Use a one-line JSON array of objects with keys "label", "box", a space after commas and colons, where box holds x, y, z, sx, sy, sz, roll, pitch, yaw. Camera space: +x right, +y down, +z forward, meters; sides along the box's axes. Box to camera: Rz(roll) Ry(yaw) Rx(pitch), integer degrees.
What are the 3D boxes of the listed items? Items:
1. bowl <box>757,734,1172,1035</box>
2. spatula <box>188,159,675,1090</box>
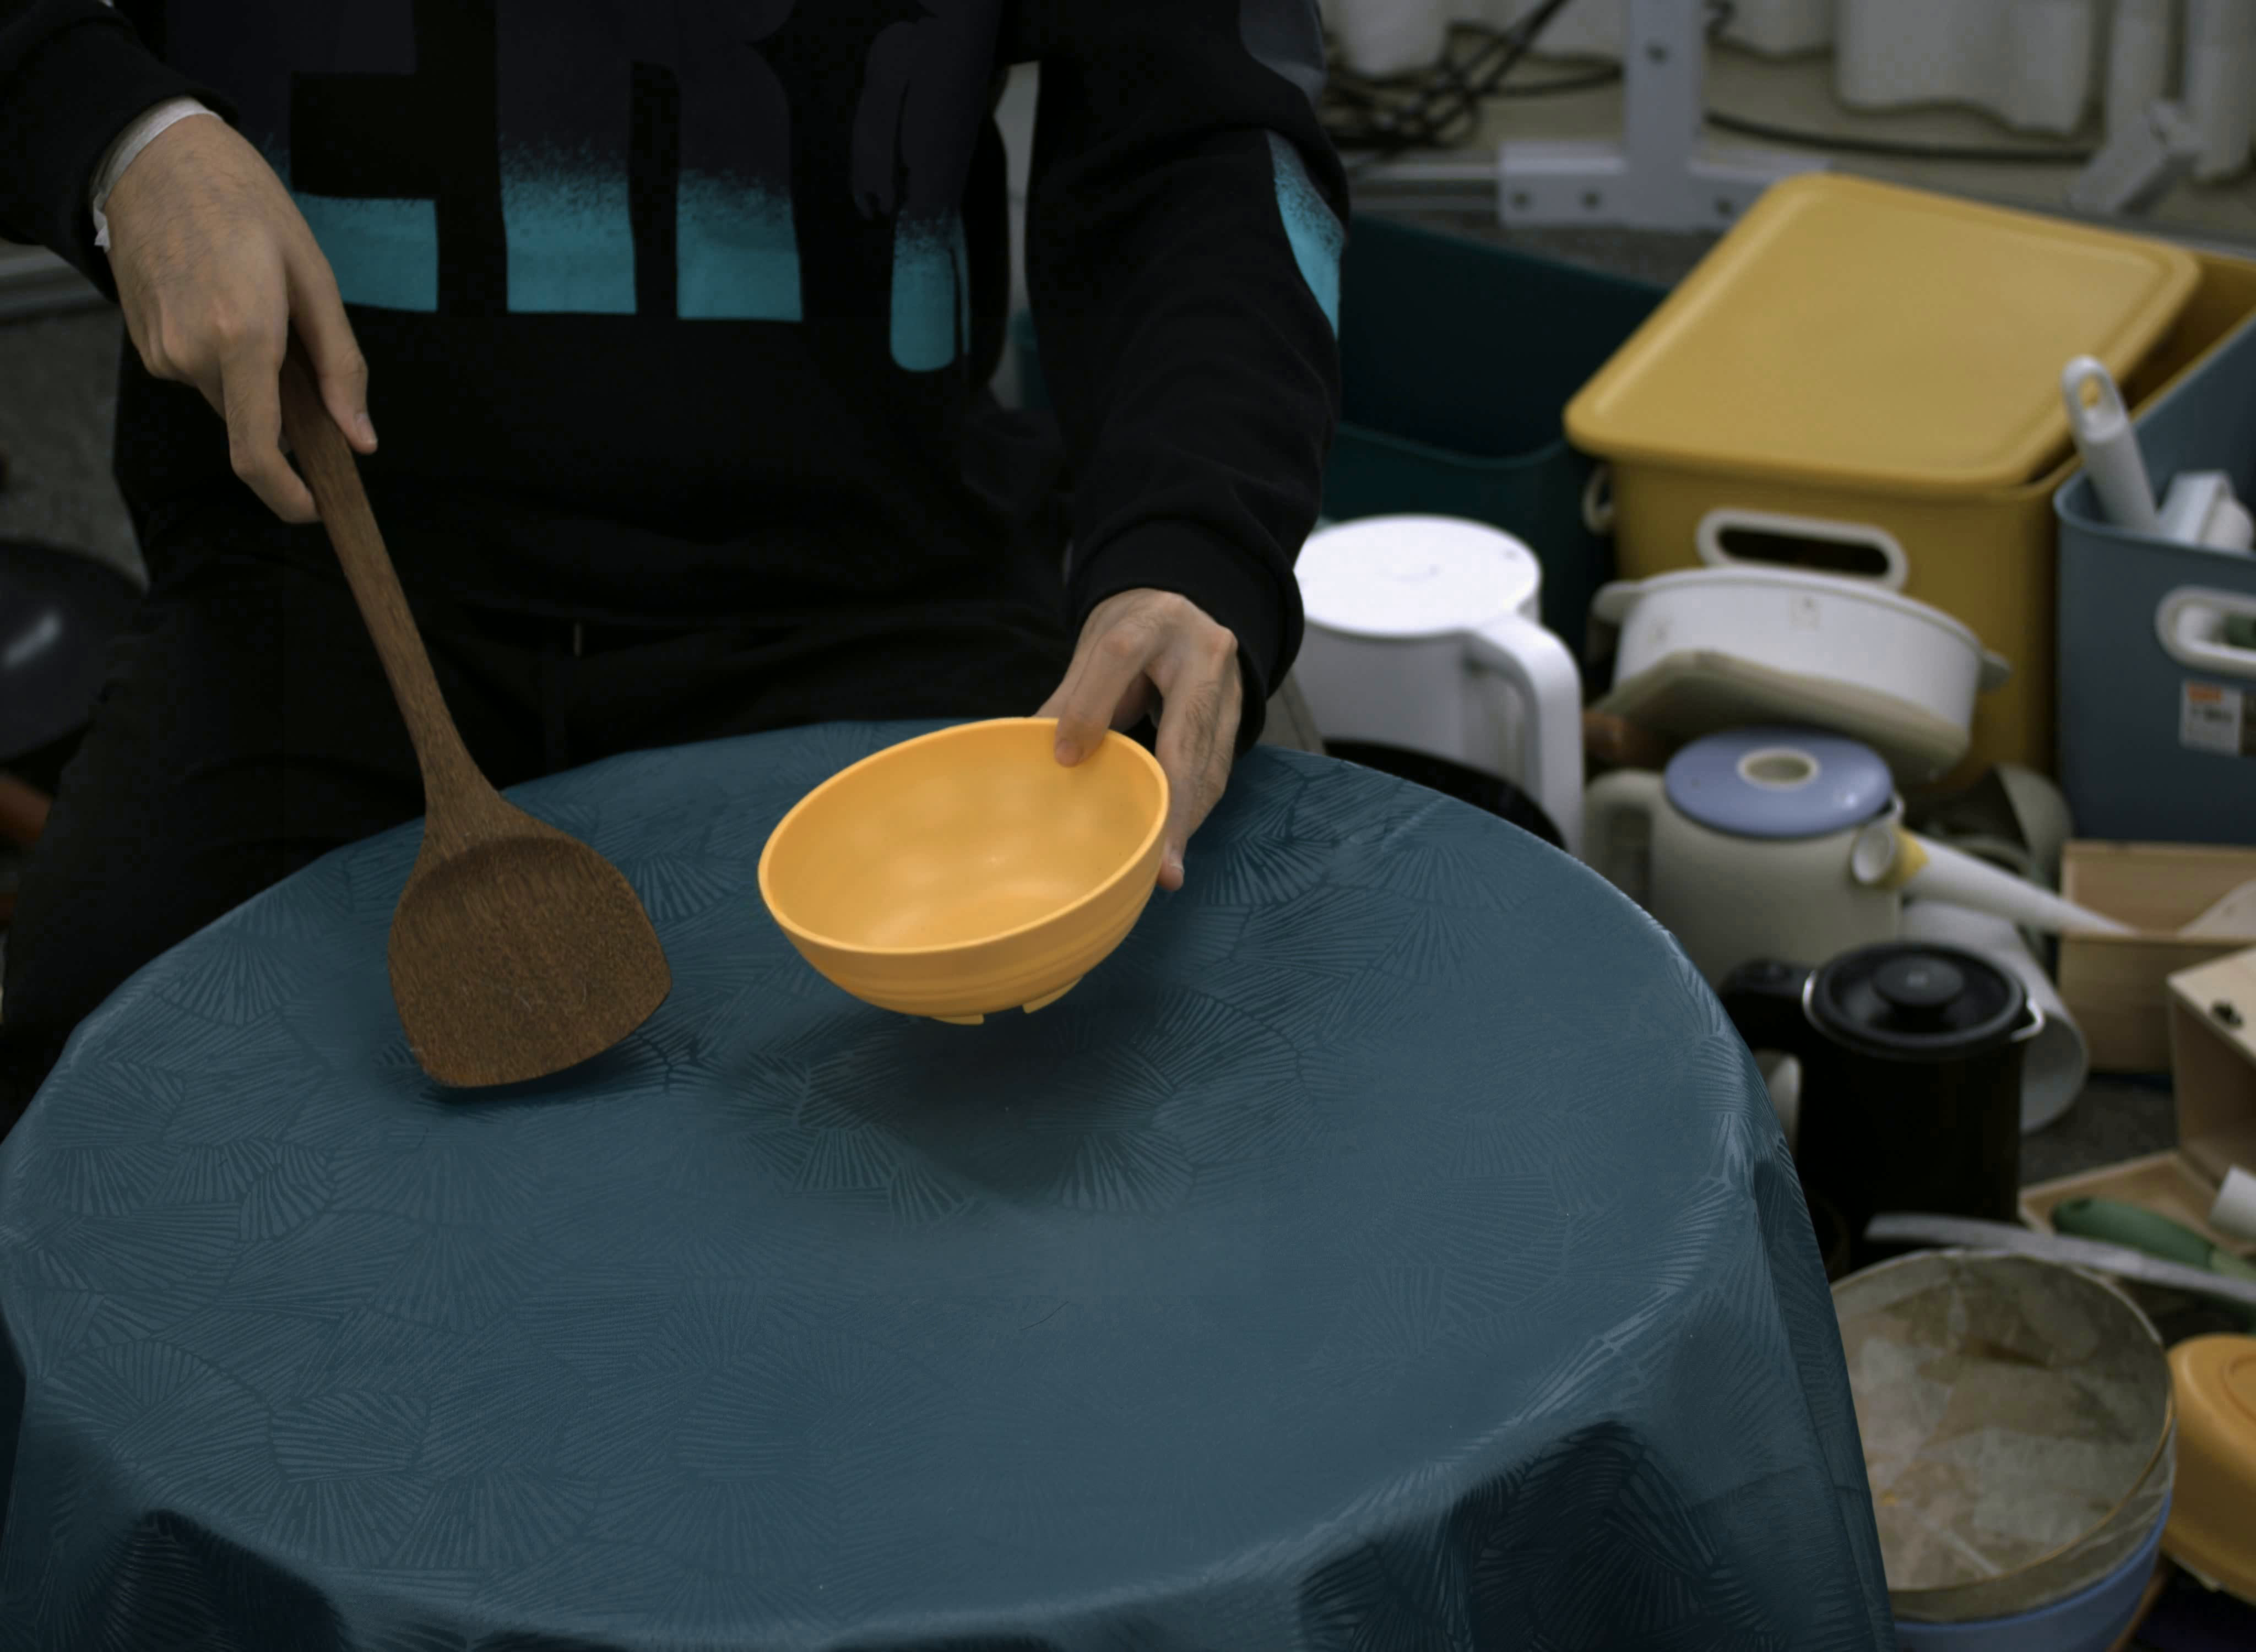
[{"label": "bowl", "box": [-0.051, 0.030, 1.931, 0.144, 0.059, 0.147, -8, 29, 5]}, {"label": "spatula", "box": [-0.265, -0.080, 2.004, 0.096, 0.015, 0.390, -20, 68, -9]}]
